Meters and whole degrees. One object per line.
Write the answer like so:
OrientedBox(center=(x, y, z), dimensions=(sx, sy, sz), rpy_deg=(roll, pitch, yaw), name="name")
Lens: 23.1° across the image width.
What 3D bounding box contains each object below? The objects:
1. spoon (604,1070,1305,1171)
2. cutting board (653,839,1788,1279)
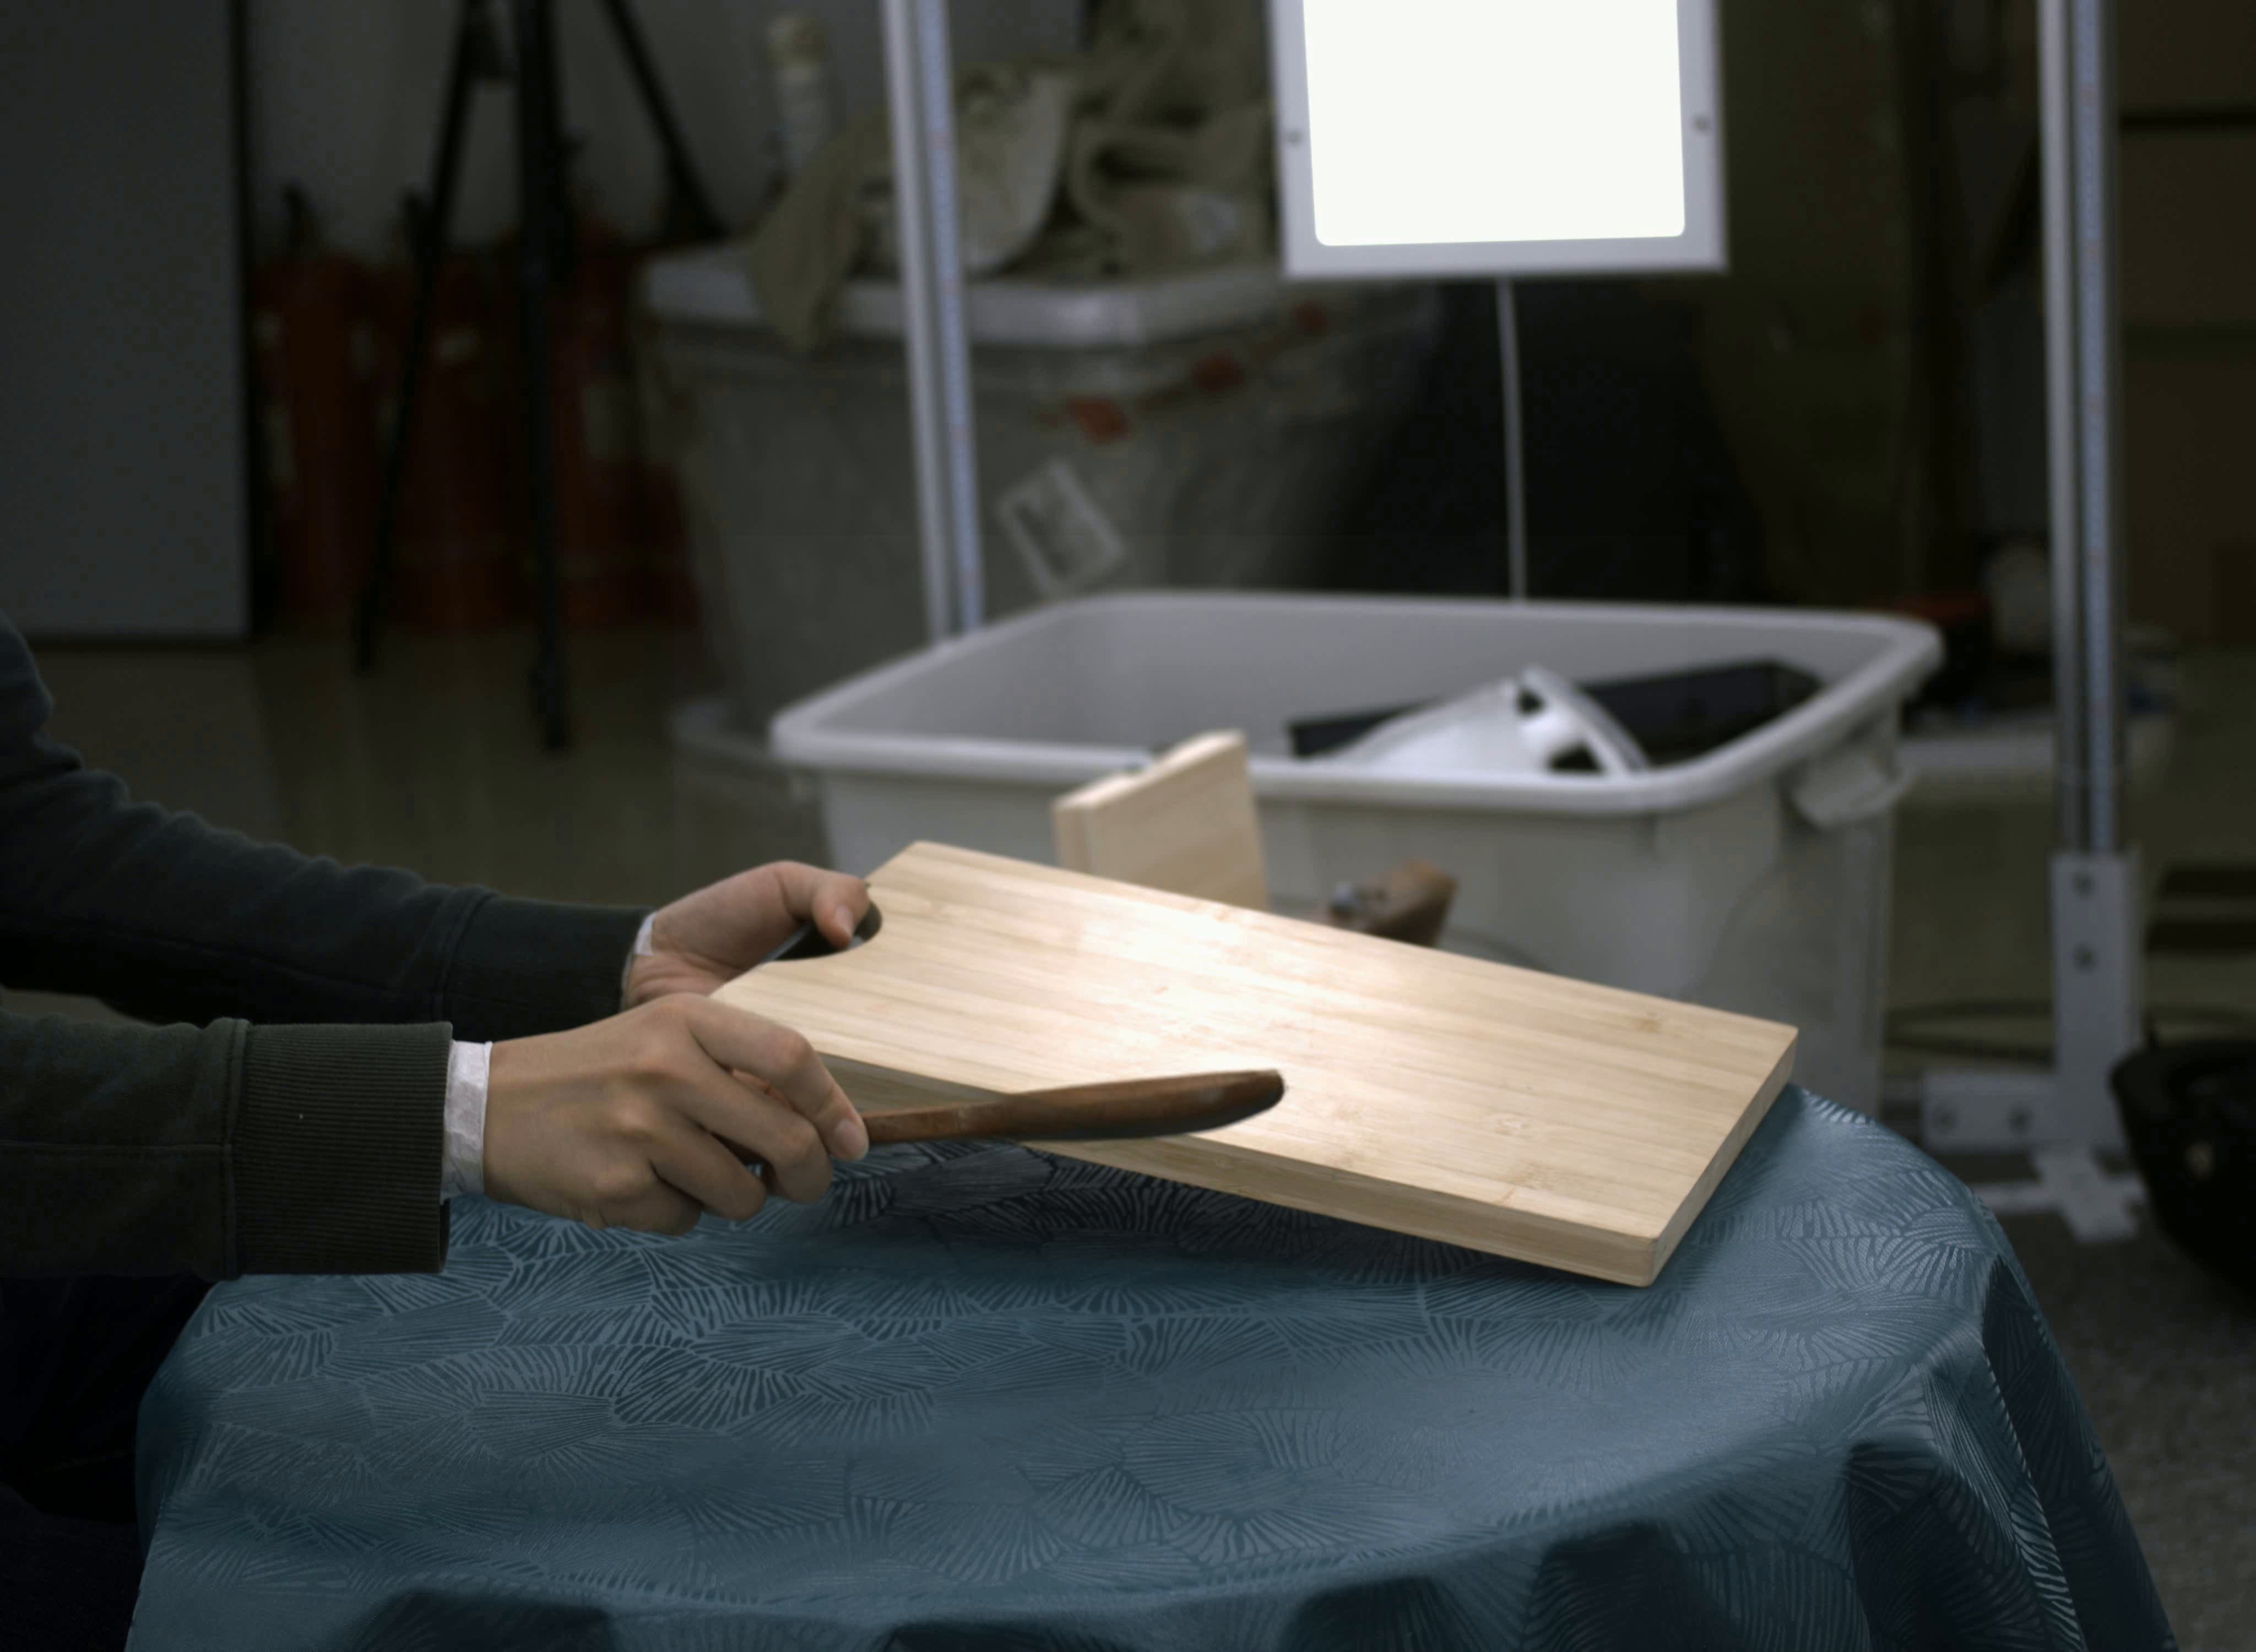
OrientedBox(center=(-0.053, 0.090, 1.662), dimensions=(0.217, 0.017, 0.075), rpy_deg=(-5, 3, 11), name="spoon")
OrientedBox(center=(0.038, 0.076, 1.911), dimensions=(0.352, 0.024, 0.246), rpy_deg=(11, 17, 16), name="cutting board")
